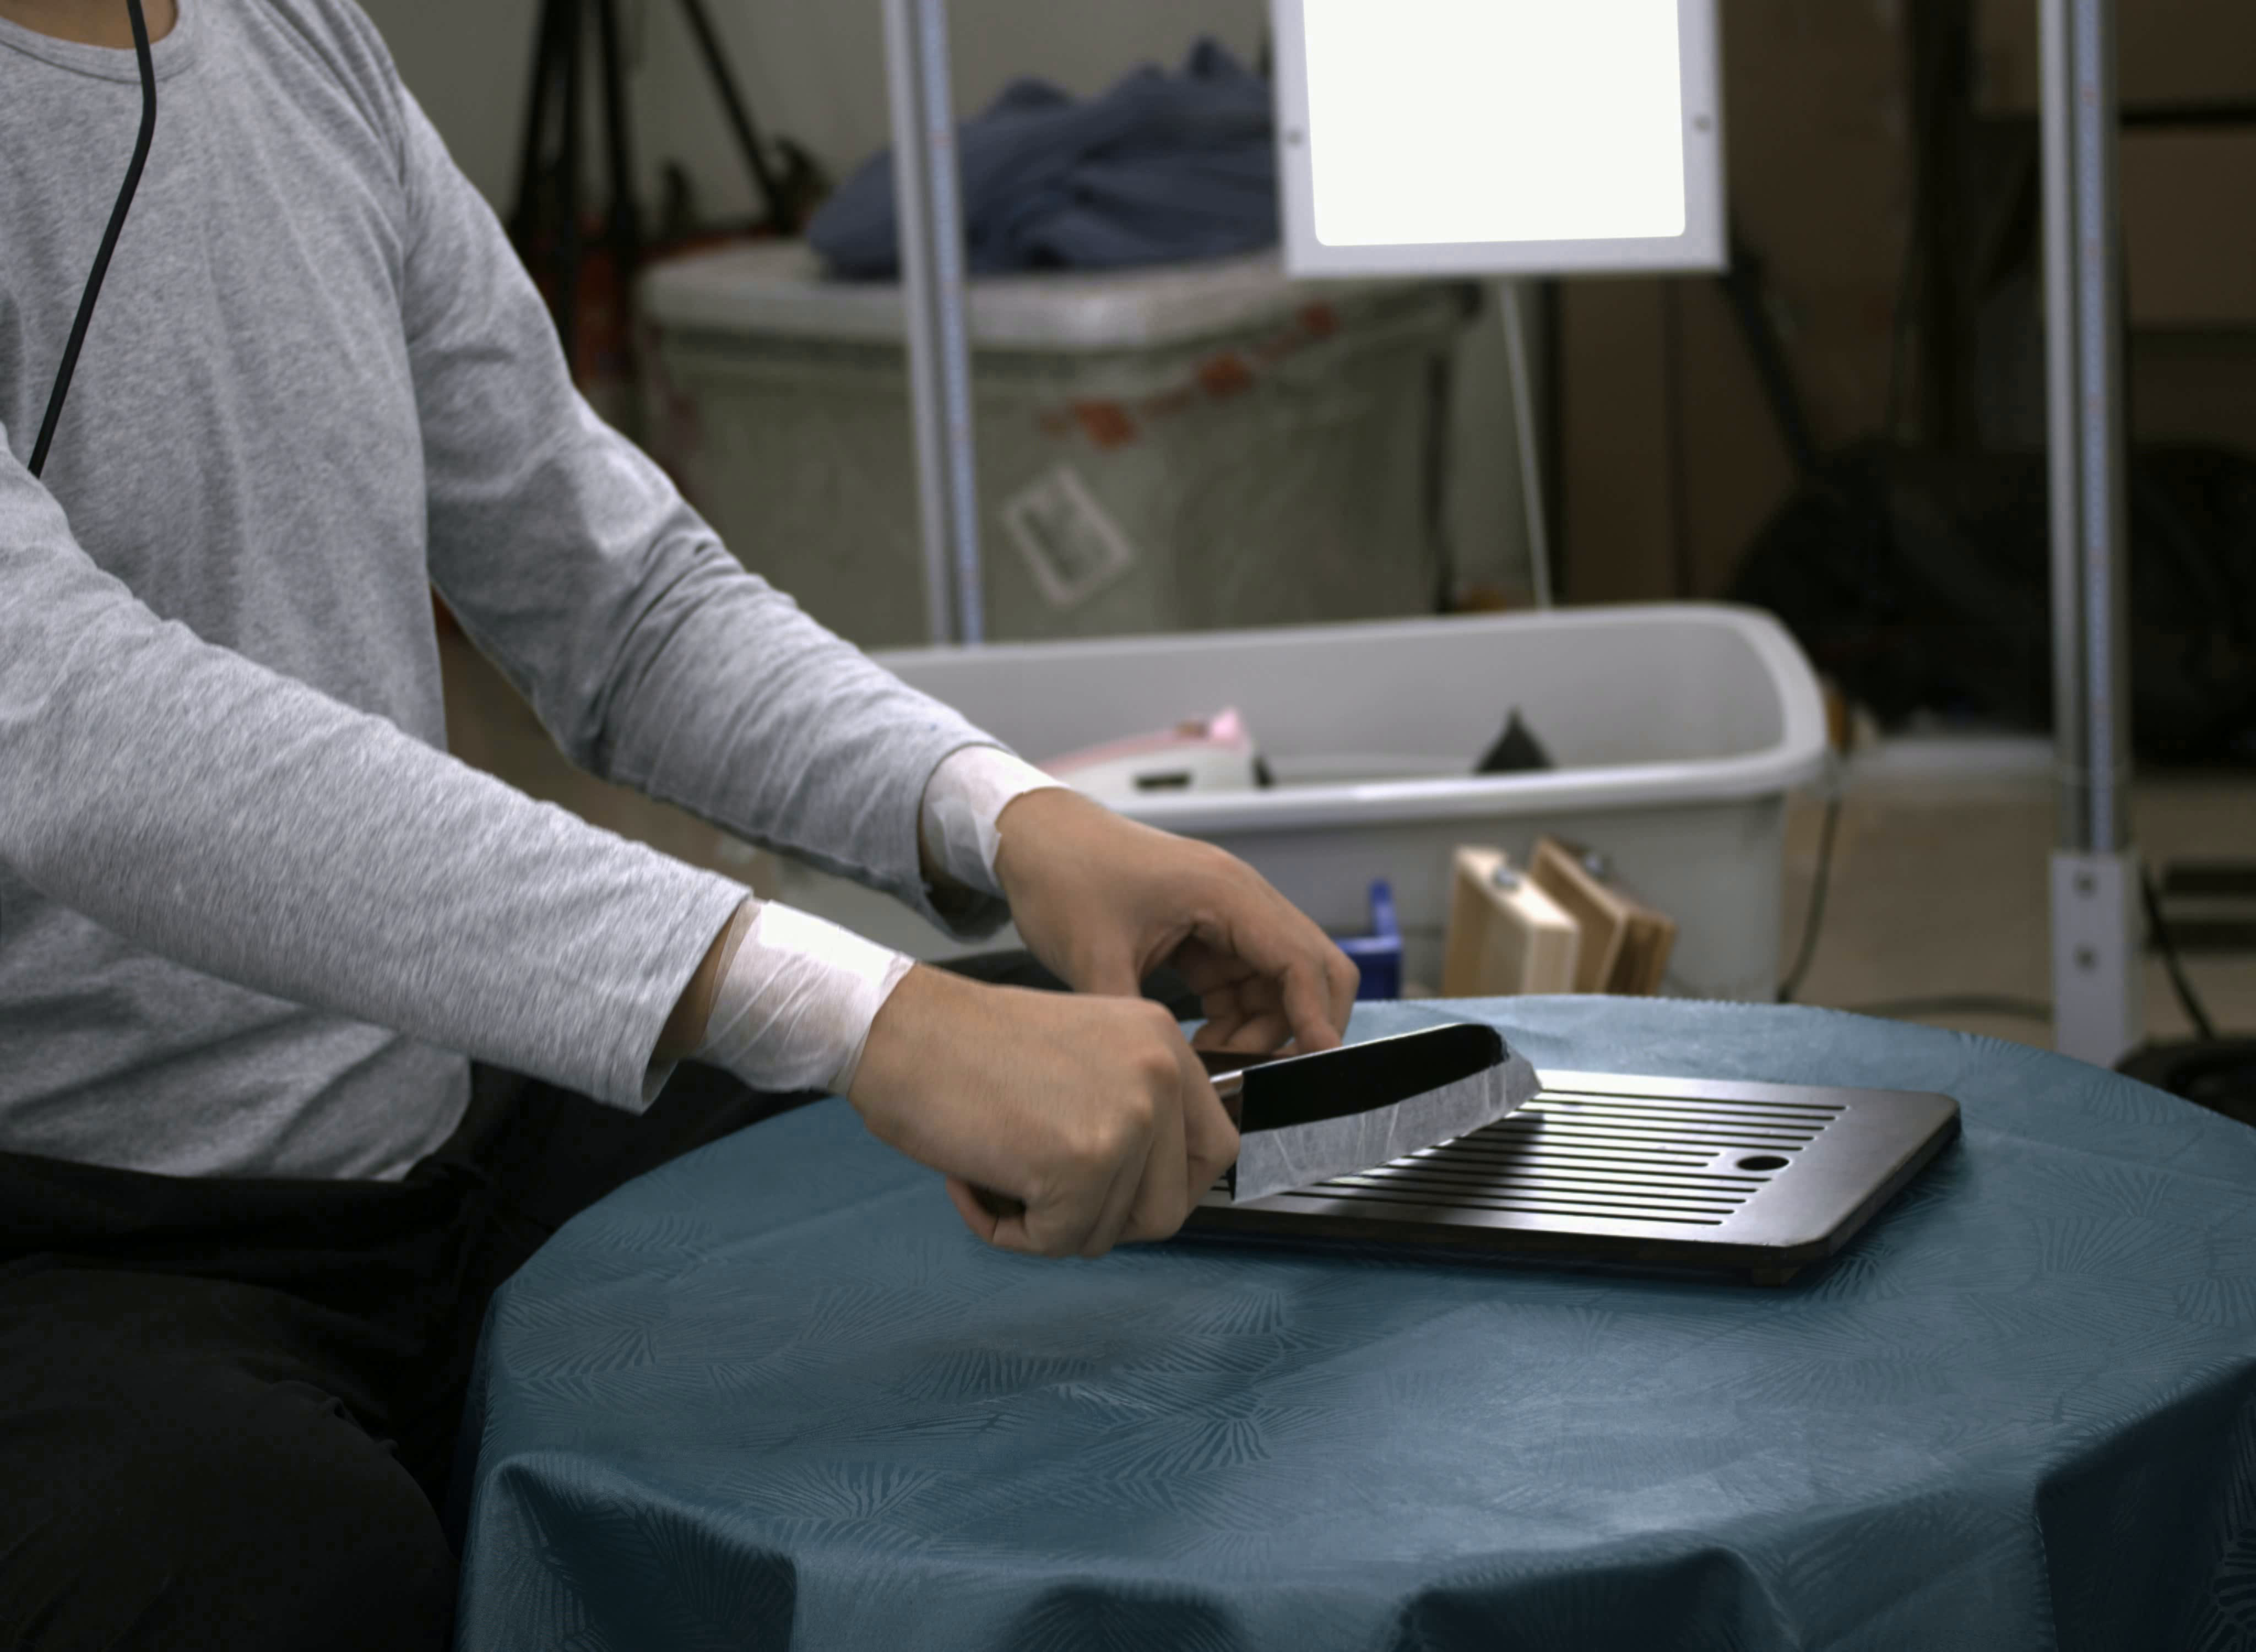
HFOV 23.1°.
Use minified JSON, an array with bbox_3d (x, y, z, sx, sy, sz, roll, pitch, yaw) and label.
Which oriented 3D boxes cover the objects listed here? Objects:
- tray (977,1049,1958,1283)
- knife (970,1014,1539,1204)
[{"bbox_3d":[0.117,0.114,1.874,0.311,0.019,0.166,2,15,28],"label":"tray"},{"bbox_3d":[0.049,0.095,1.804,0.020,0.050,0.282,10,10,41],"label":"knife"}]
